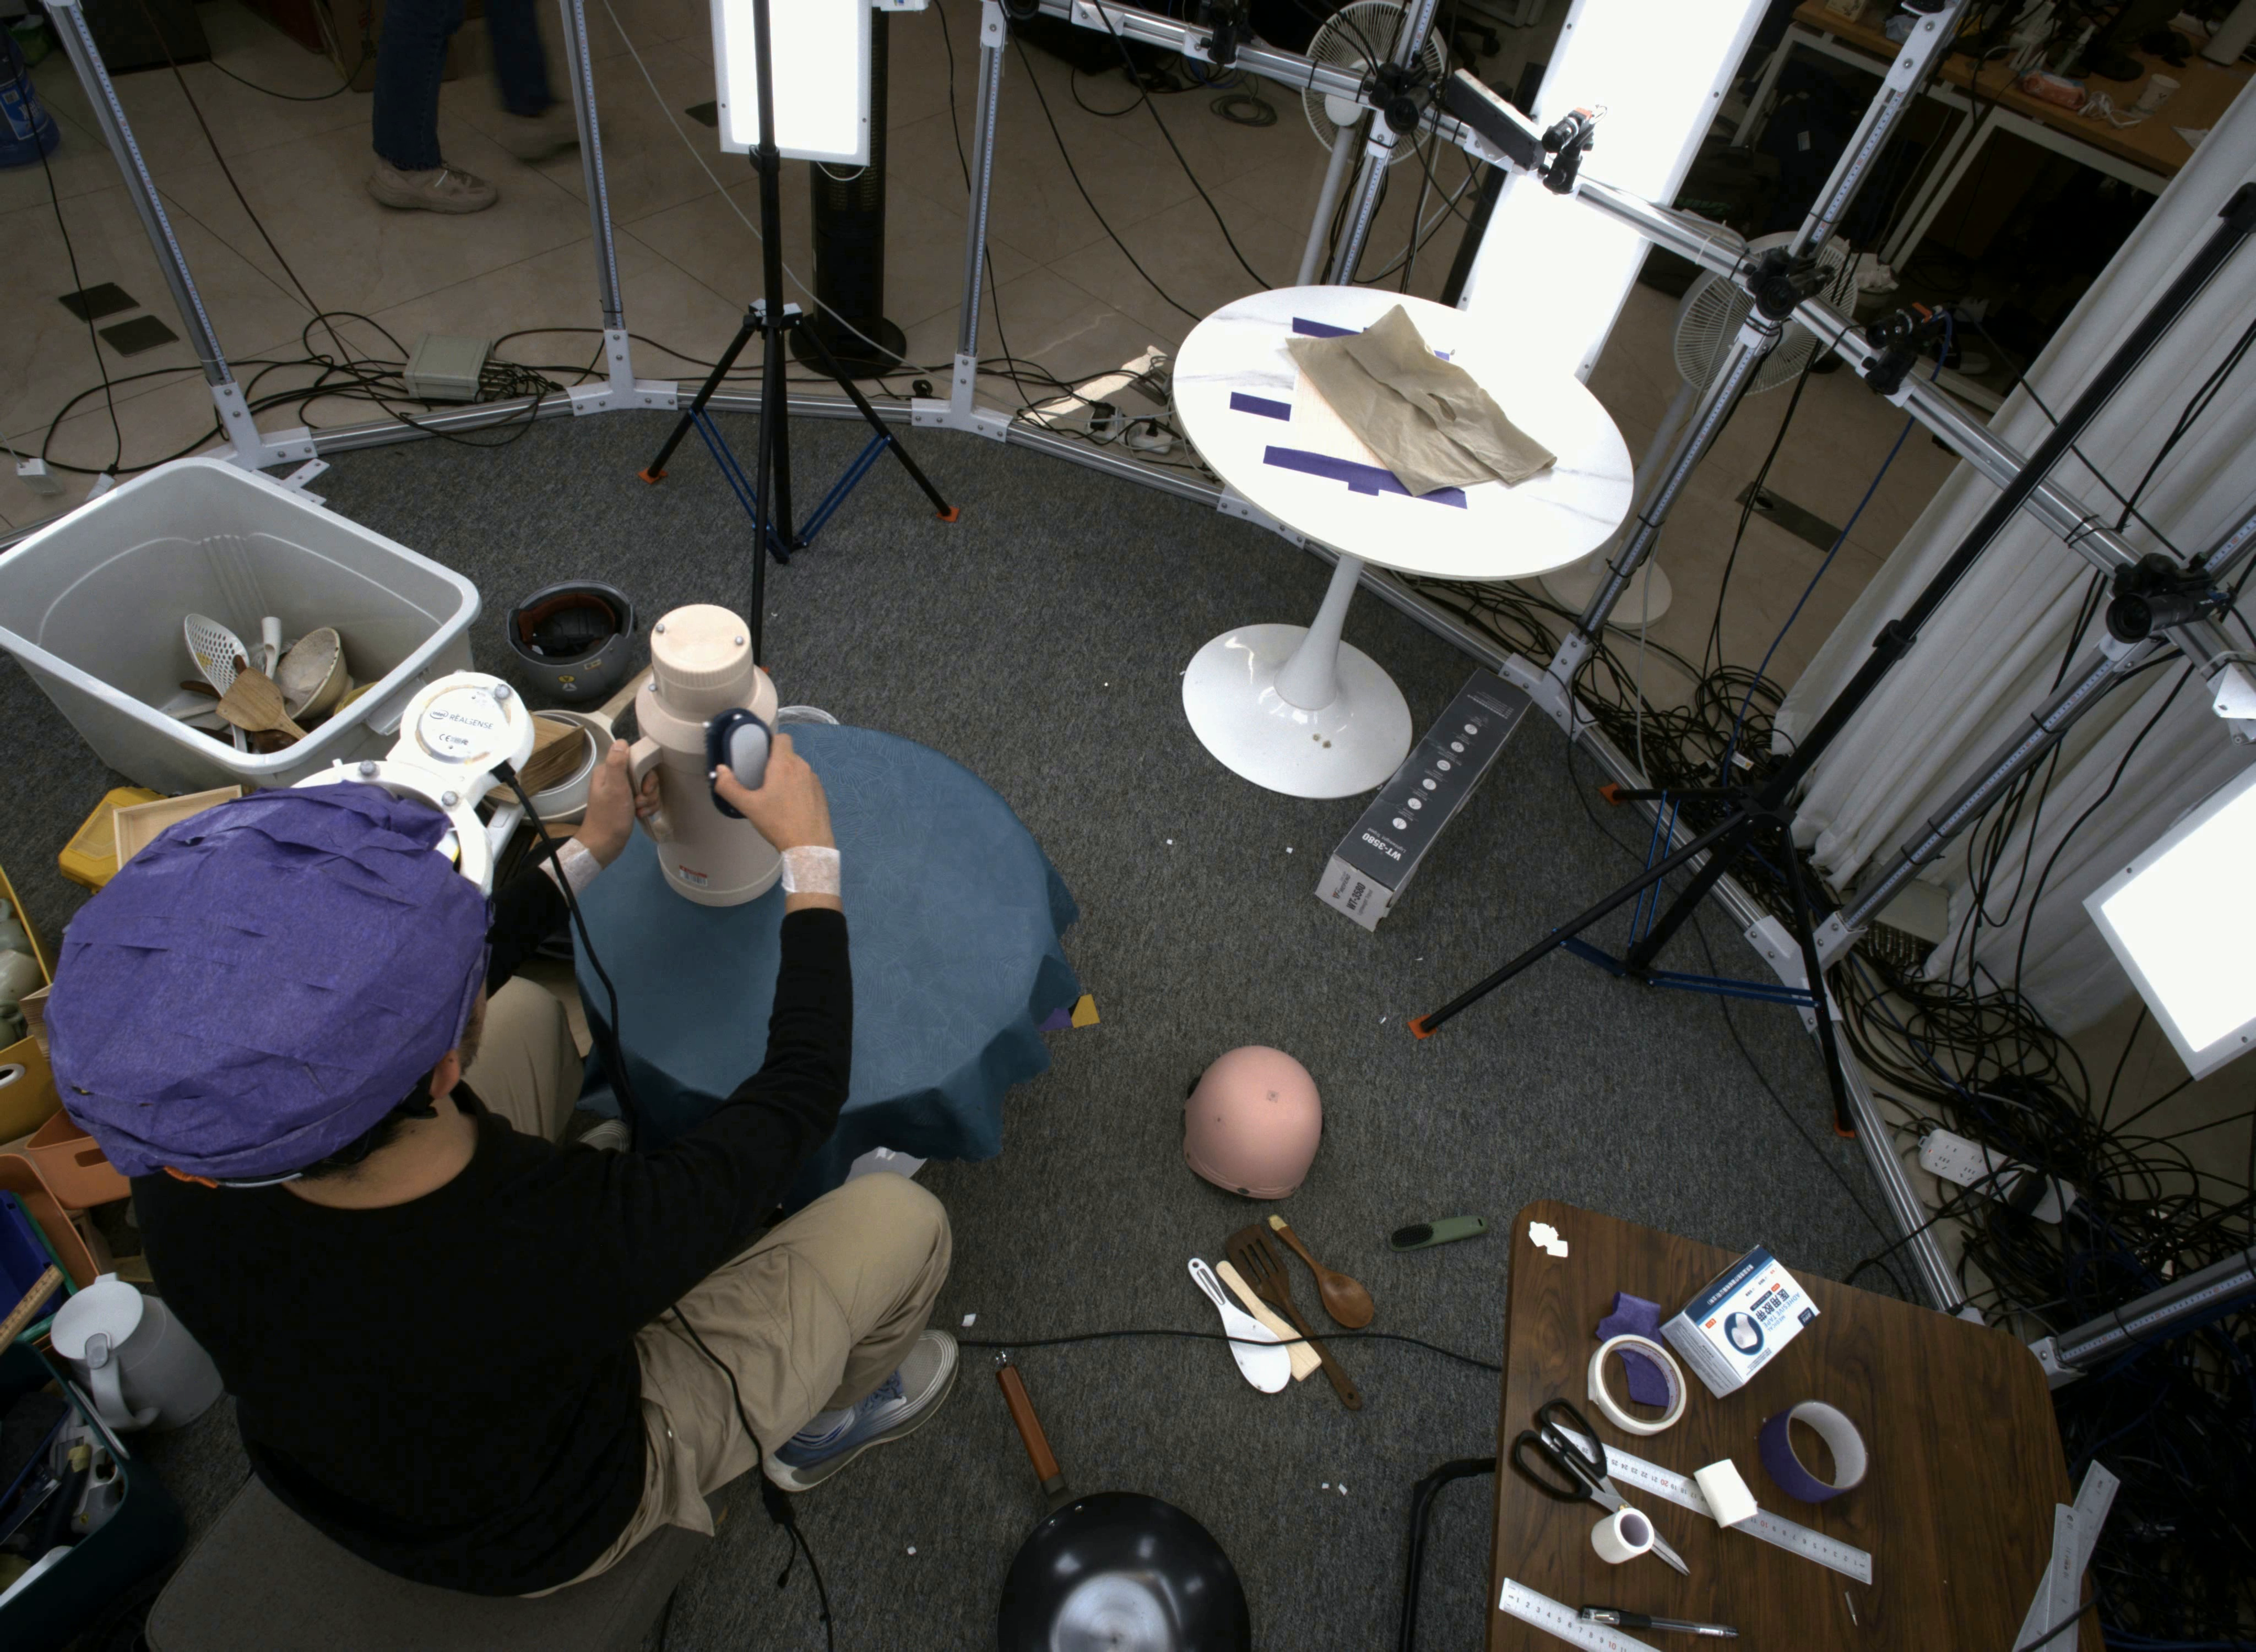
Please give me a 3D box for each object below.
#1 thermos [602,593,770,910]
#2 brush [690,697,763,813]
[{"bbox_3d":[-0.517,-0.076,1.494,0.172,0.414,0.207,34,53,13],"label":"thermos"},{"bbox_3d":[-0.427,-0.074,1.364,0.069,0.124,0.059,-12,20,-41],"label":"brush"}]
